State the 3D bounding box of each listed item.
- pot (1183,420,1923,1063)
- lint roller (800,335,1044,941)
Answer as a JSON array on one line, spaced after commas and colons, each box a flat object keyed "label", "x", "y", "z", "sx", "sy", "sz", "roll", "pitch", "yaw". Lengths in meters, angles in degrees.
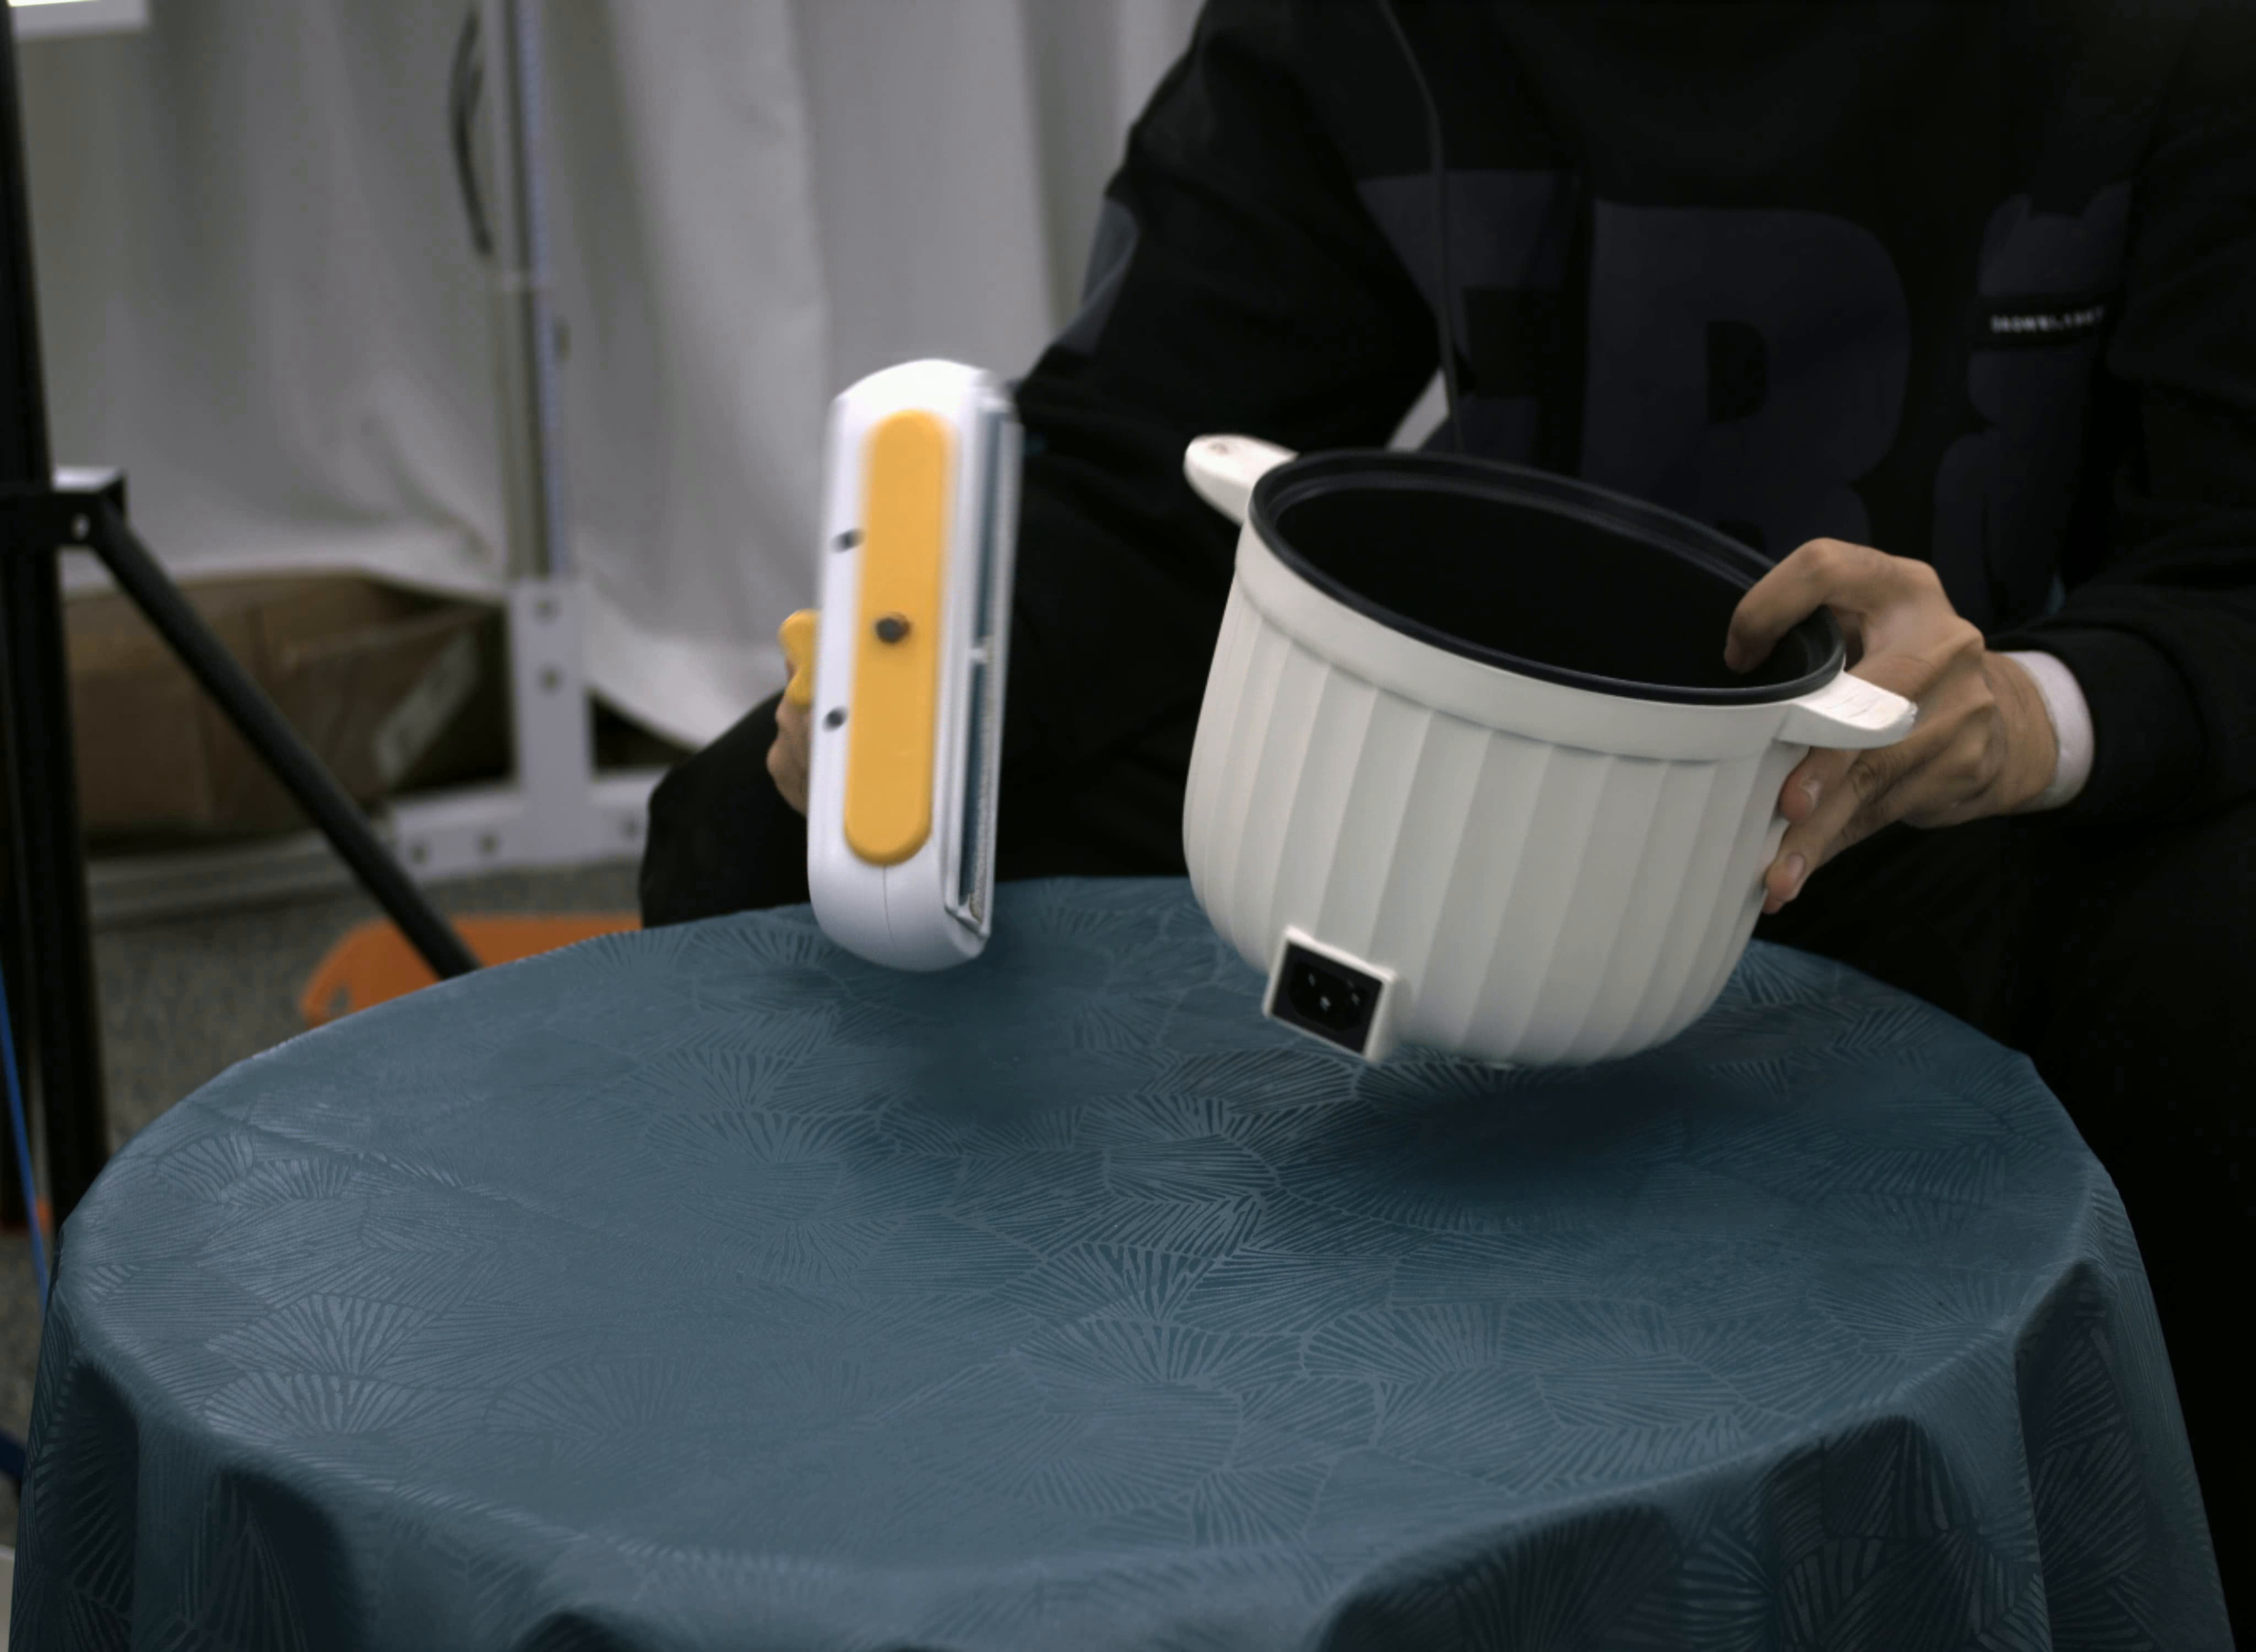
[{"label": "pot", "x": 0.110, "y": -0.020, "z": 1.587, "sx": 0.244, "sy": 0.143, "sz": 0.187, "roll": 26, "pitch": 28, "yaw": 22}, {"label": "lint roller", "x": -0.065, "y": -0.040, "z": 1.723, "sx": 0.074, "sy": 0.194, "sz": 0.191, "roll": 1, "pitch": -20, "yaw": 4}]
